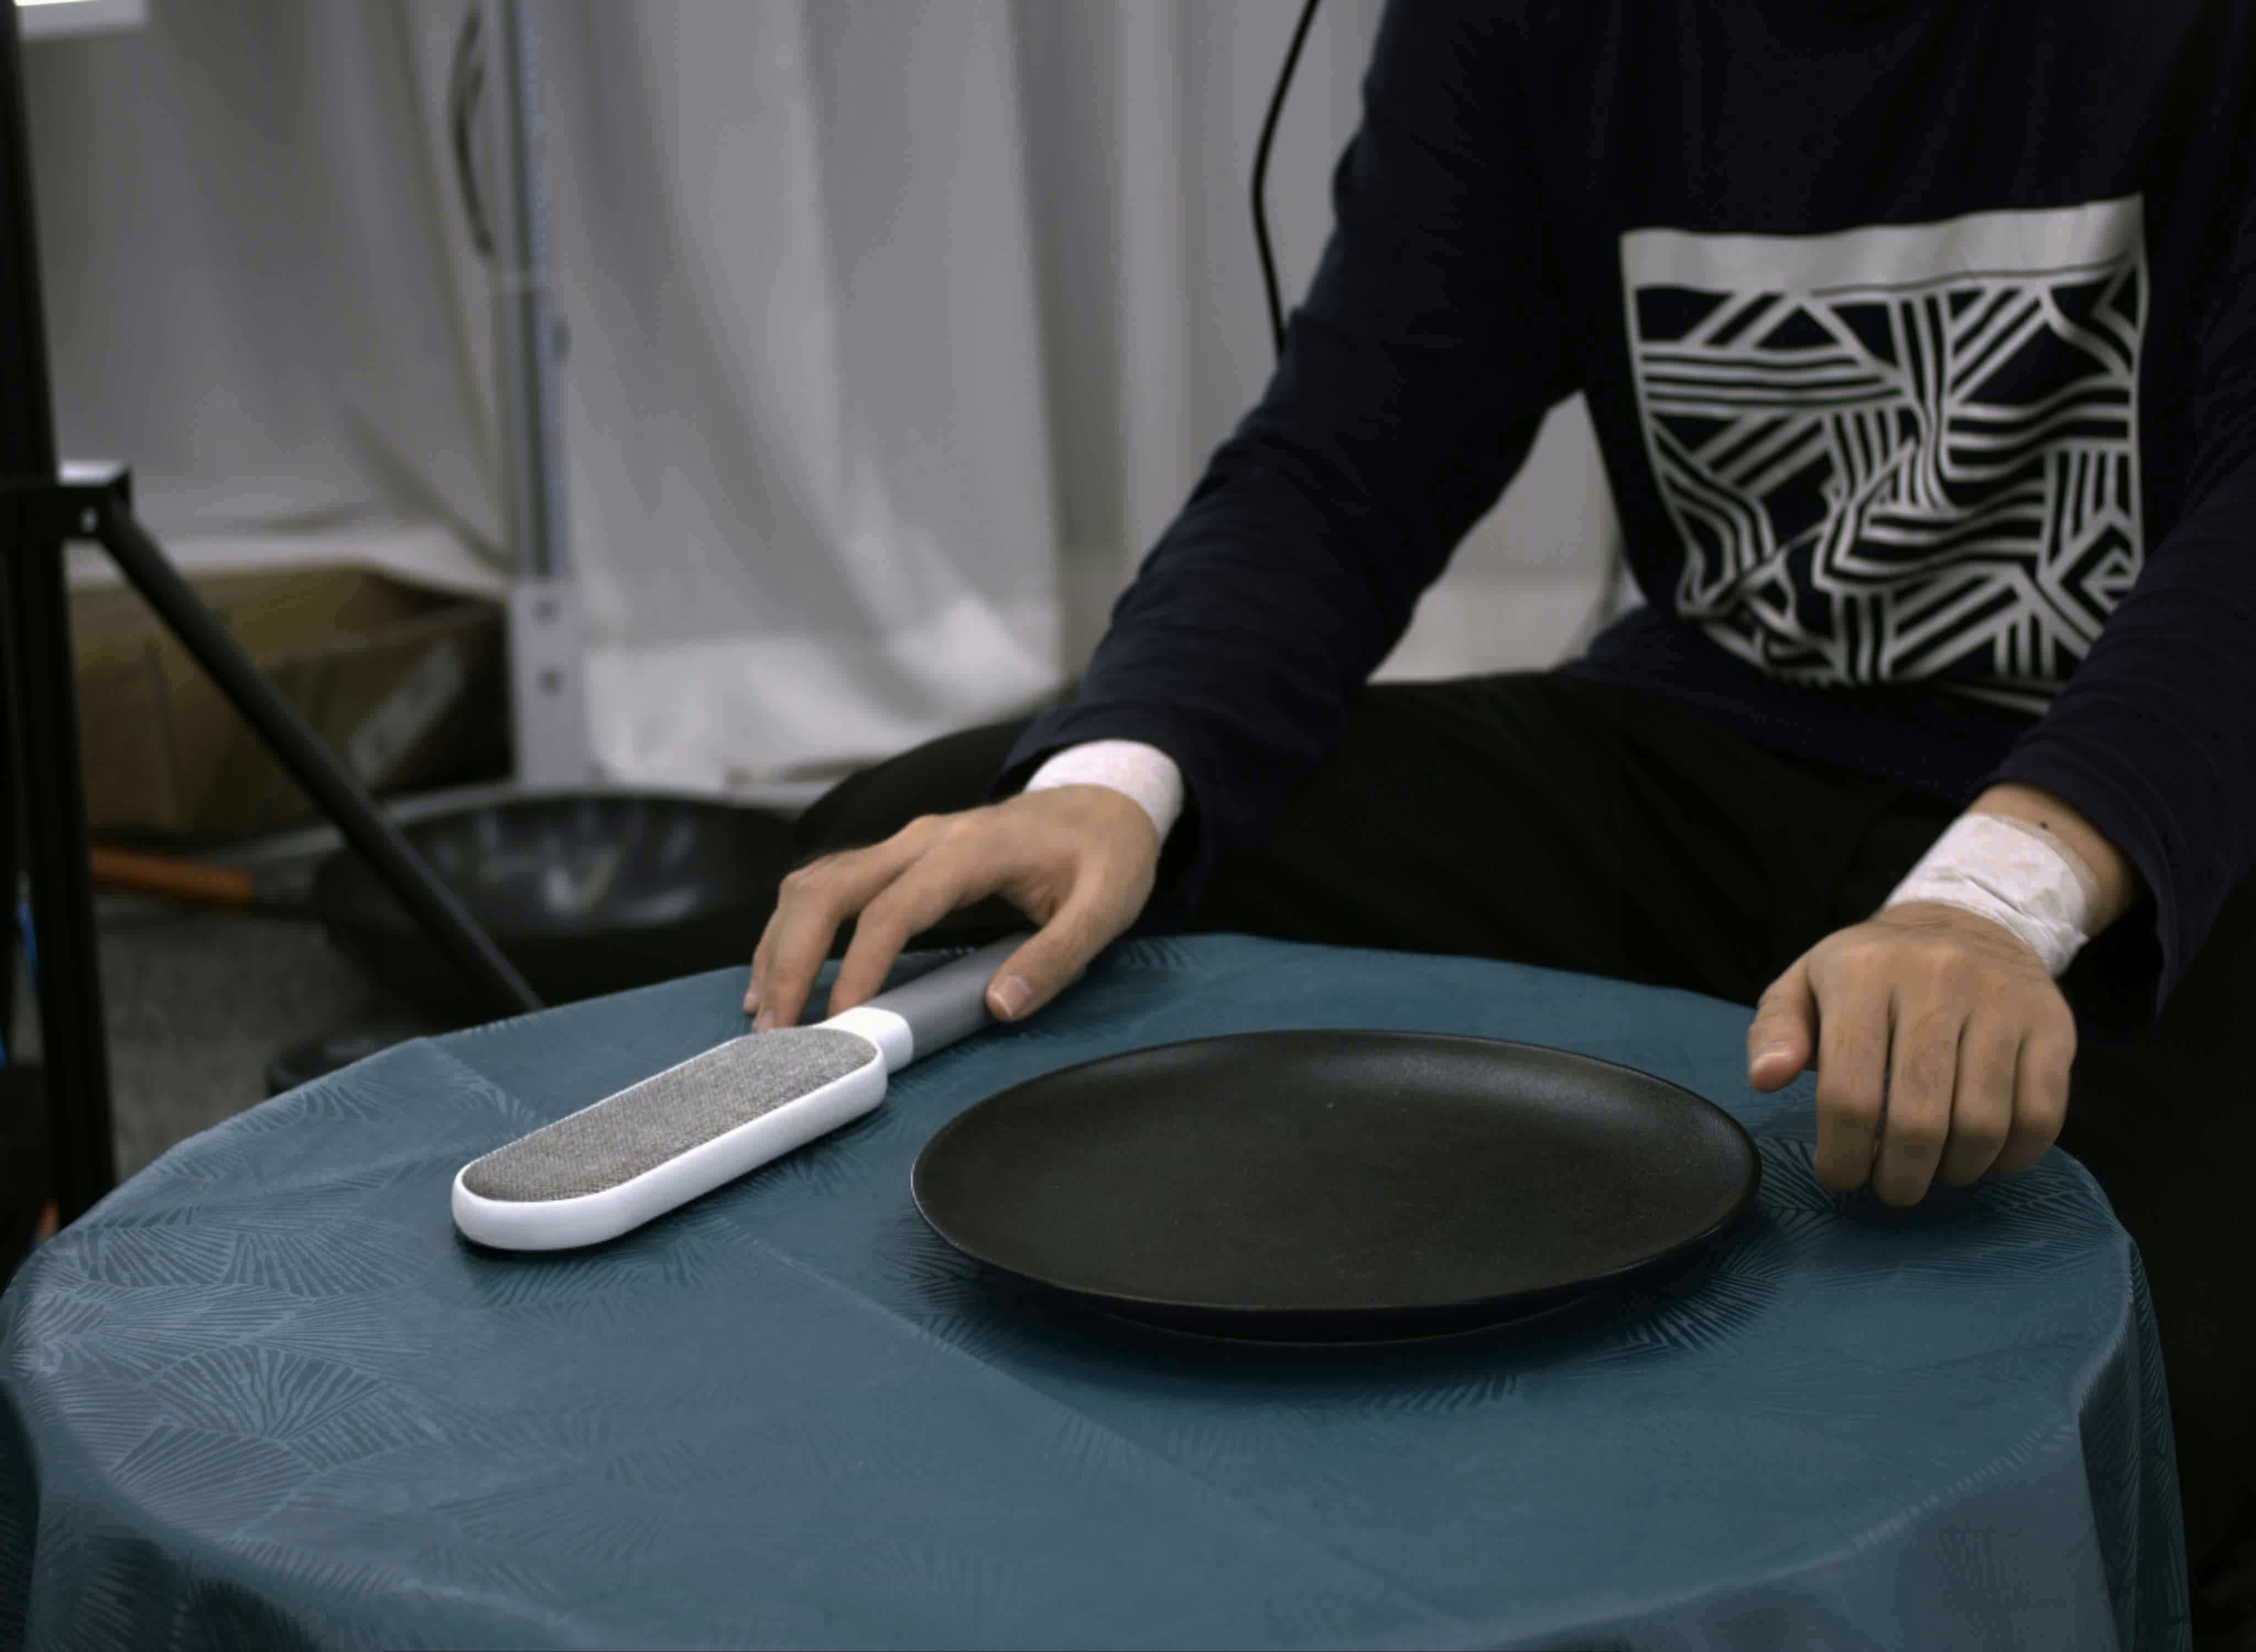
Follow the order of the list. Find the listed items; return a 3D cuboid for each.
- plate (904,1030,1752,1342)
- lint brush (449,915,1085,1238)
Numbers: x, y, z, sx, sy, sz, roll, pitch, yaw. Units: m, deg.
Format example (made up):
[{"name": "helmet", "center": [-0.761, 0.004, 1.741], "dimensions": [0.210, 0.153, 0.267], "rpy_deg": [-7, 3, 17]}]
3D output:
[{"name": "plate", "center": [0.057, 0.105, 1.520], "dimensions": [0.243, 0.023, 0.245], "rpy_deg": [-3, 16, -1]}, {"name": "lint brush", "center": [-0.101, 0.074, 1.647], "dimensions": [0.061, 0.021, 0.303], "rpy_deg": [2, 16, 33]}]
